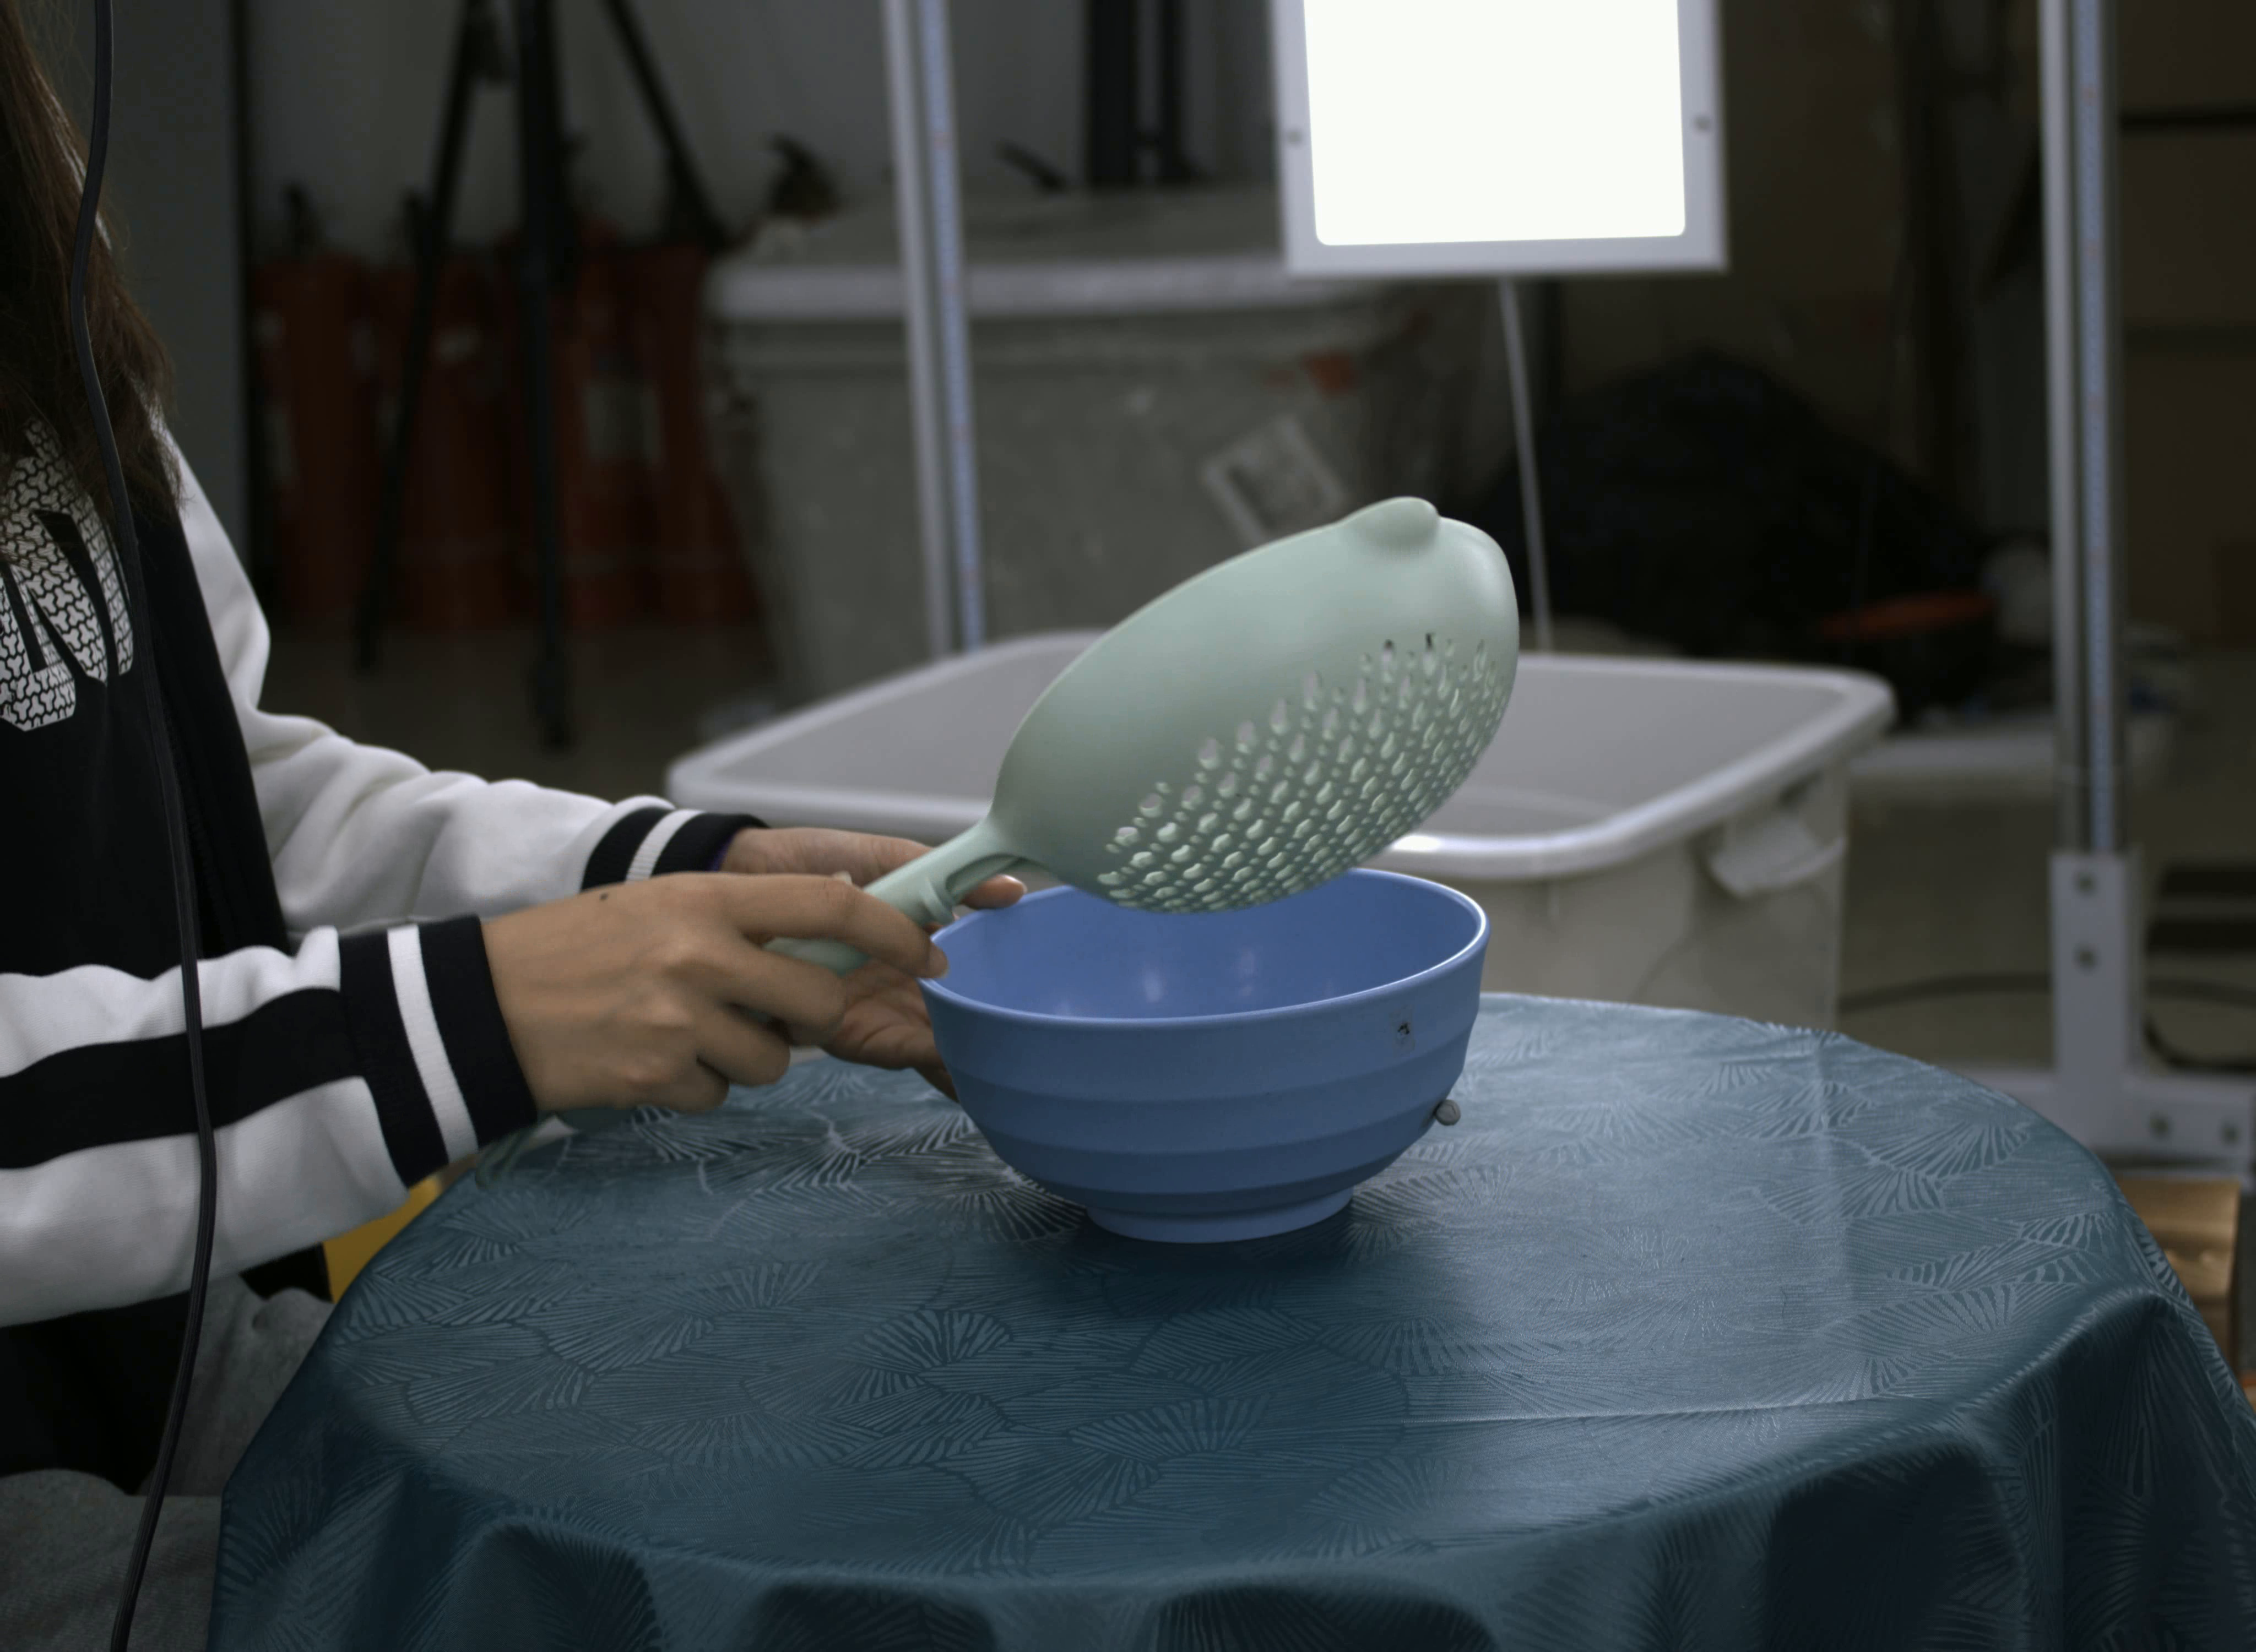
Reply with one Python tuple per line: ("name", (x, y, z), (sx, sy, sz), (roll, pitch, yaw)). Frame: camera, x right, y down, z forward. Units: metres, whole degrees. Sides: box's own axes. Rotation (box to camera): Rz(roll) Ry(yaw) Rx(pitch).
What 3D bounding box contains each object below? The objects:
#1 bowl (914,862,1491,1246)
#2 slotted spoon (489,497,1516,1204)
("bowl", (0.029, 0.083, 1.867), (0.196, 0.096, 0.196), (-5, 14, 0))
("slotted spoon", (-0.041, 0.014, 1.665), (0.361, 0.075, 0.168), (-22, -22, 9))
